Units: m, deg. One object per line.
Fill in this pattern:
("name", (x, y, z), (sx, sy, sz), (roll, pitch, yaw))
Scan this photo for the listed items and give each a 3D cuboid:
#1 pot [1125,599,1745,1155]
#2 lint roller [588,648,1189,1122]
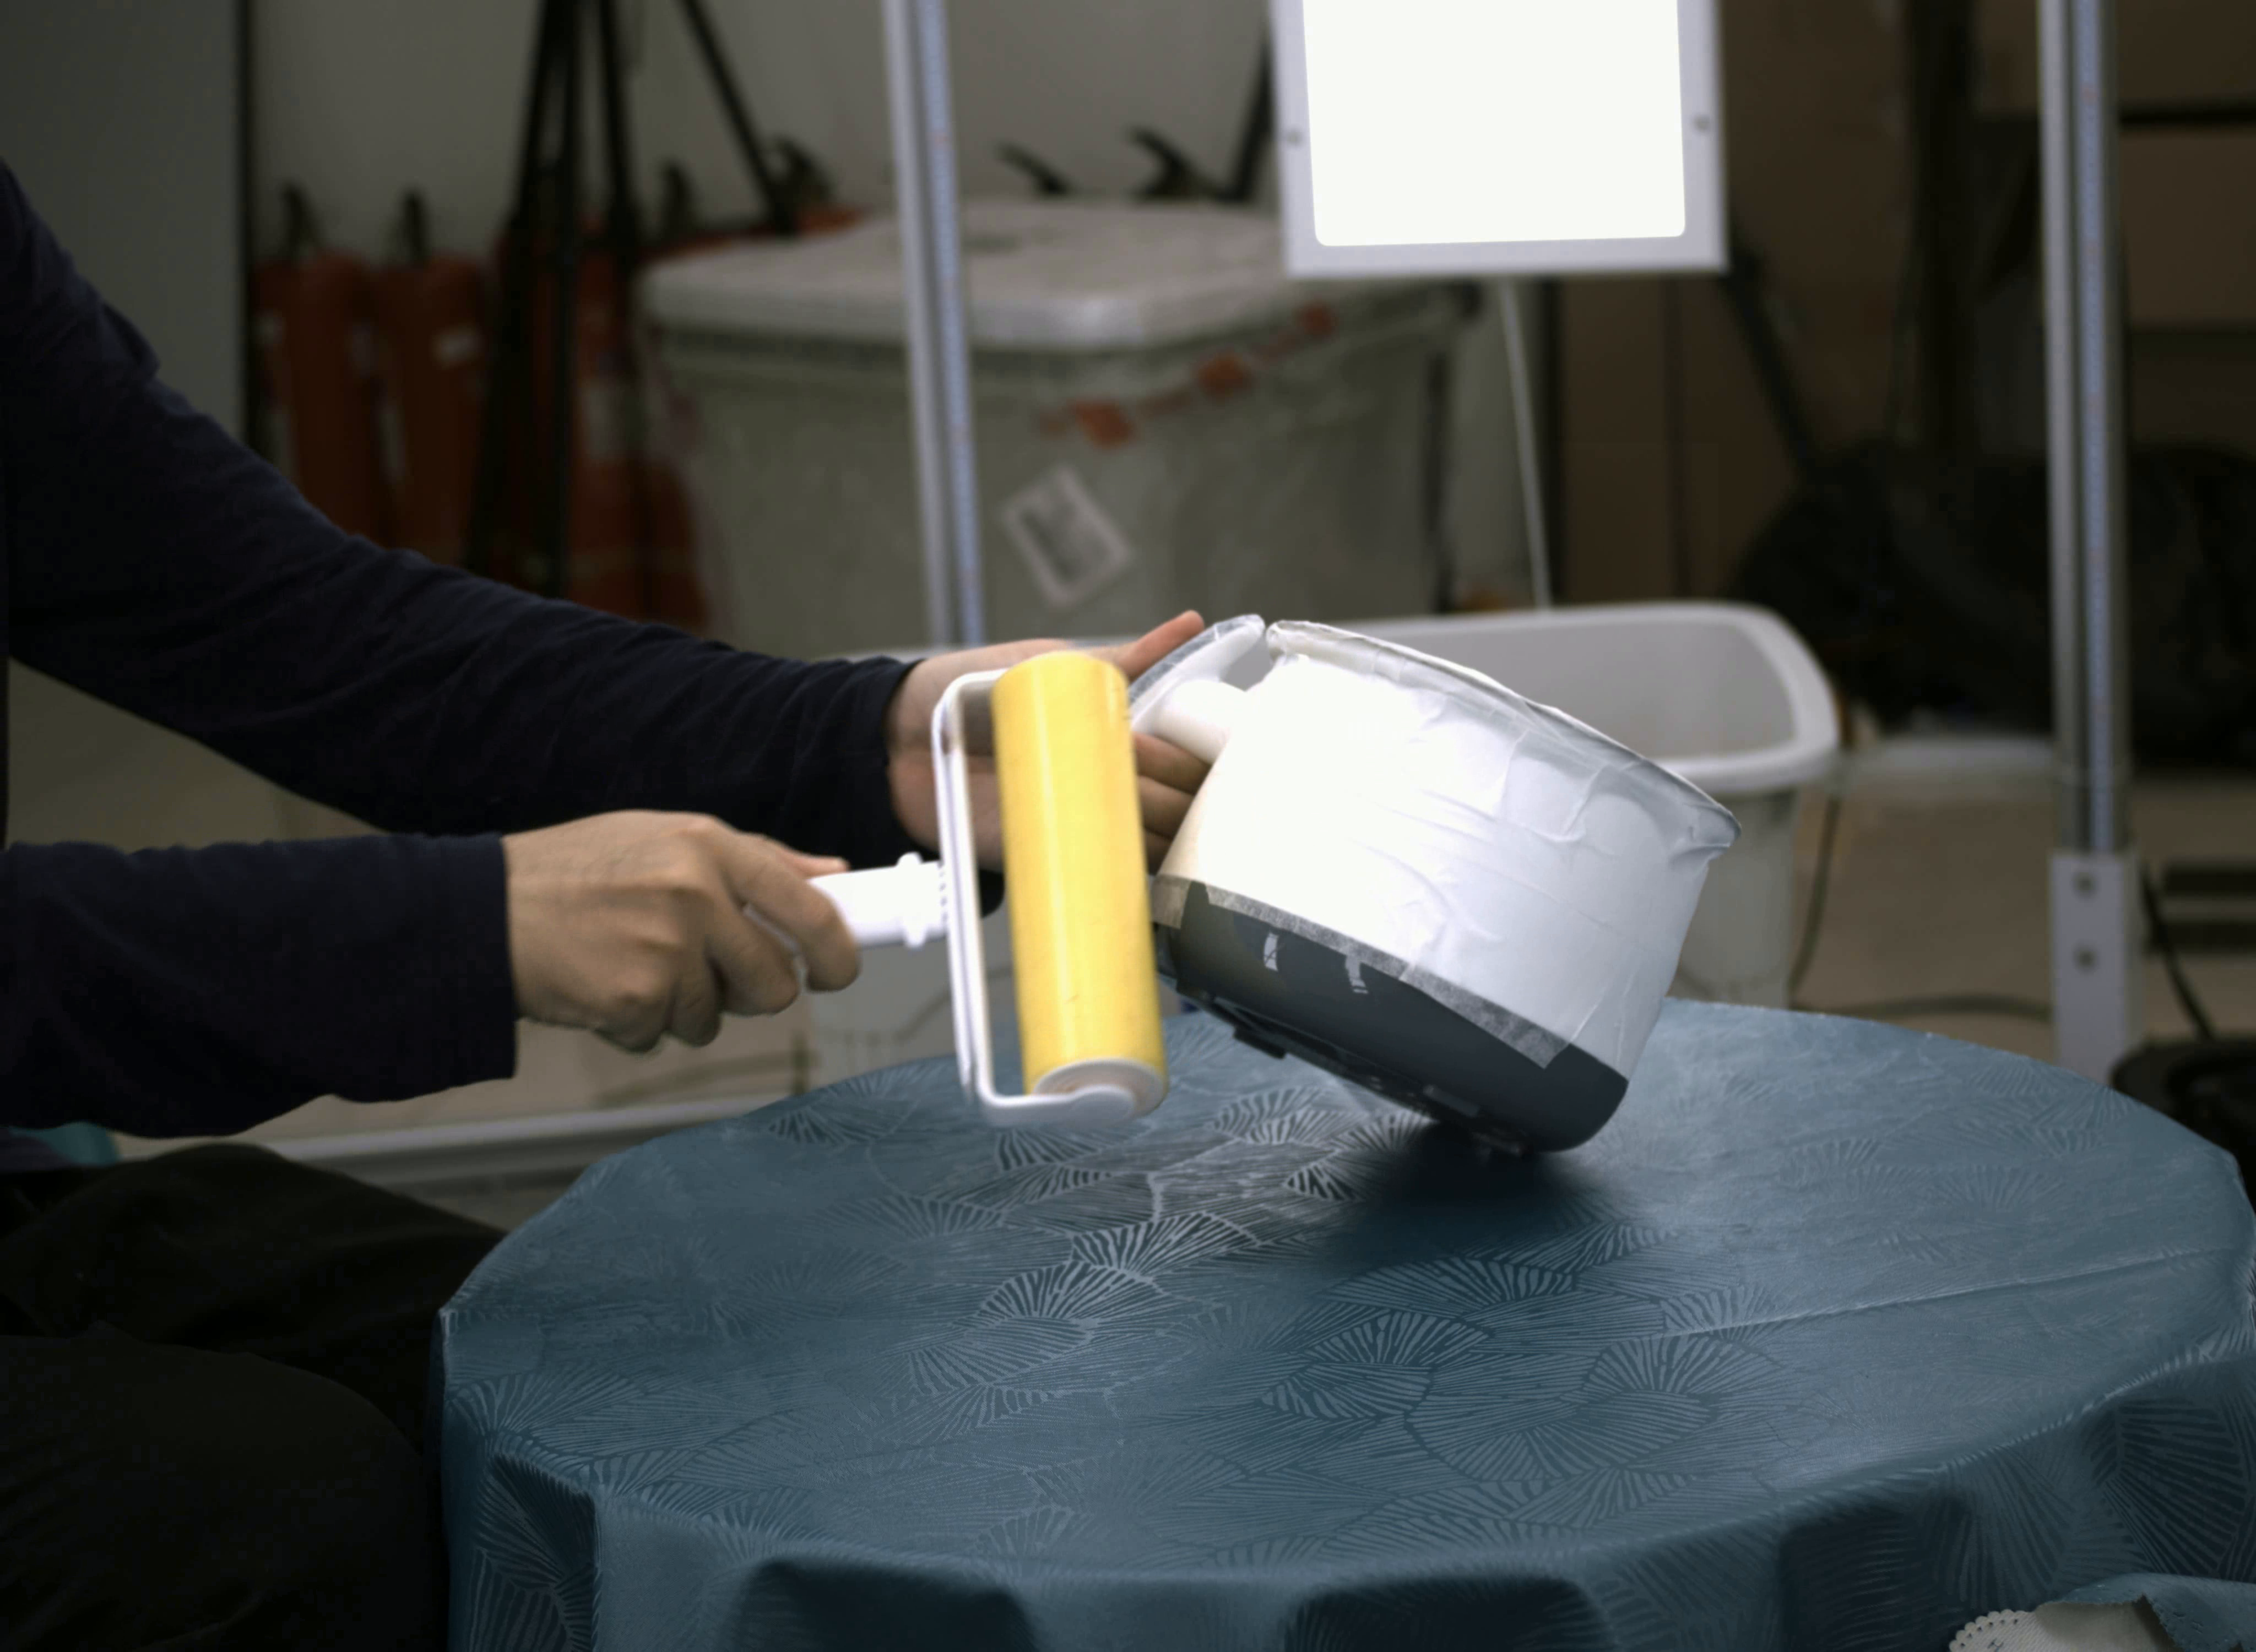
("pot", (0.080, 0.010, 1.890), (0.236, 0.136, 0.177), (25, -7, 18))
("lint roller", (-0.083, 0.023, 1.835), (0.190, 0.052, 0.174), (-3, 56, -7))
